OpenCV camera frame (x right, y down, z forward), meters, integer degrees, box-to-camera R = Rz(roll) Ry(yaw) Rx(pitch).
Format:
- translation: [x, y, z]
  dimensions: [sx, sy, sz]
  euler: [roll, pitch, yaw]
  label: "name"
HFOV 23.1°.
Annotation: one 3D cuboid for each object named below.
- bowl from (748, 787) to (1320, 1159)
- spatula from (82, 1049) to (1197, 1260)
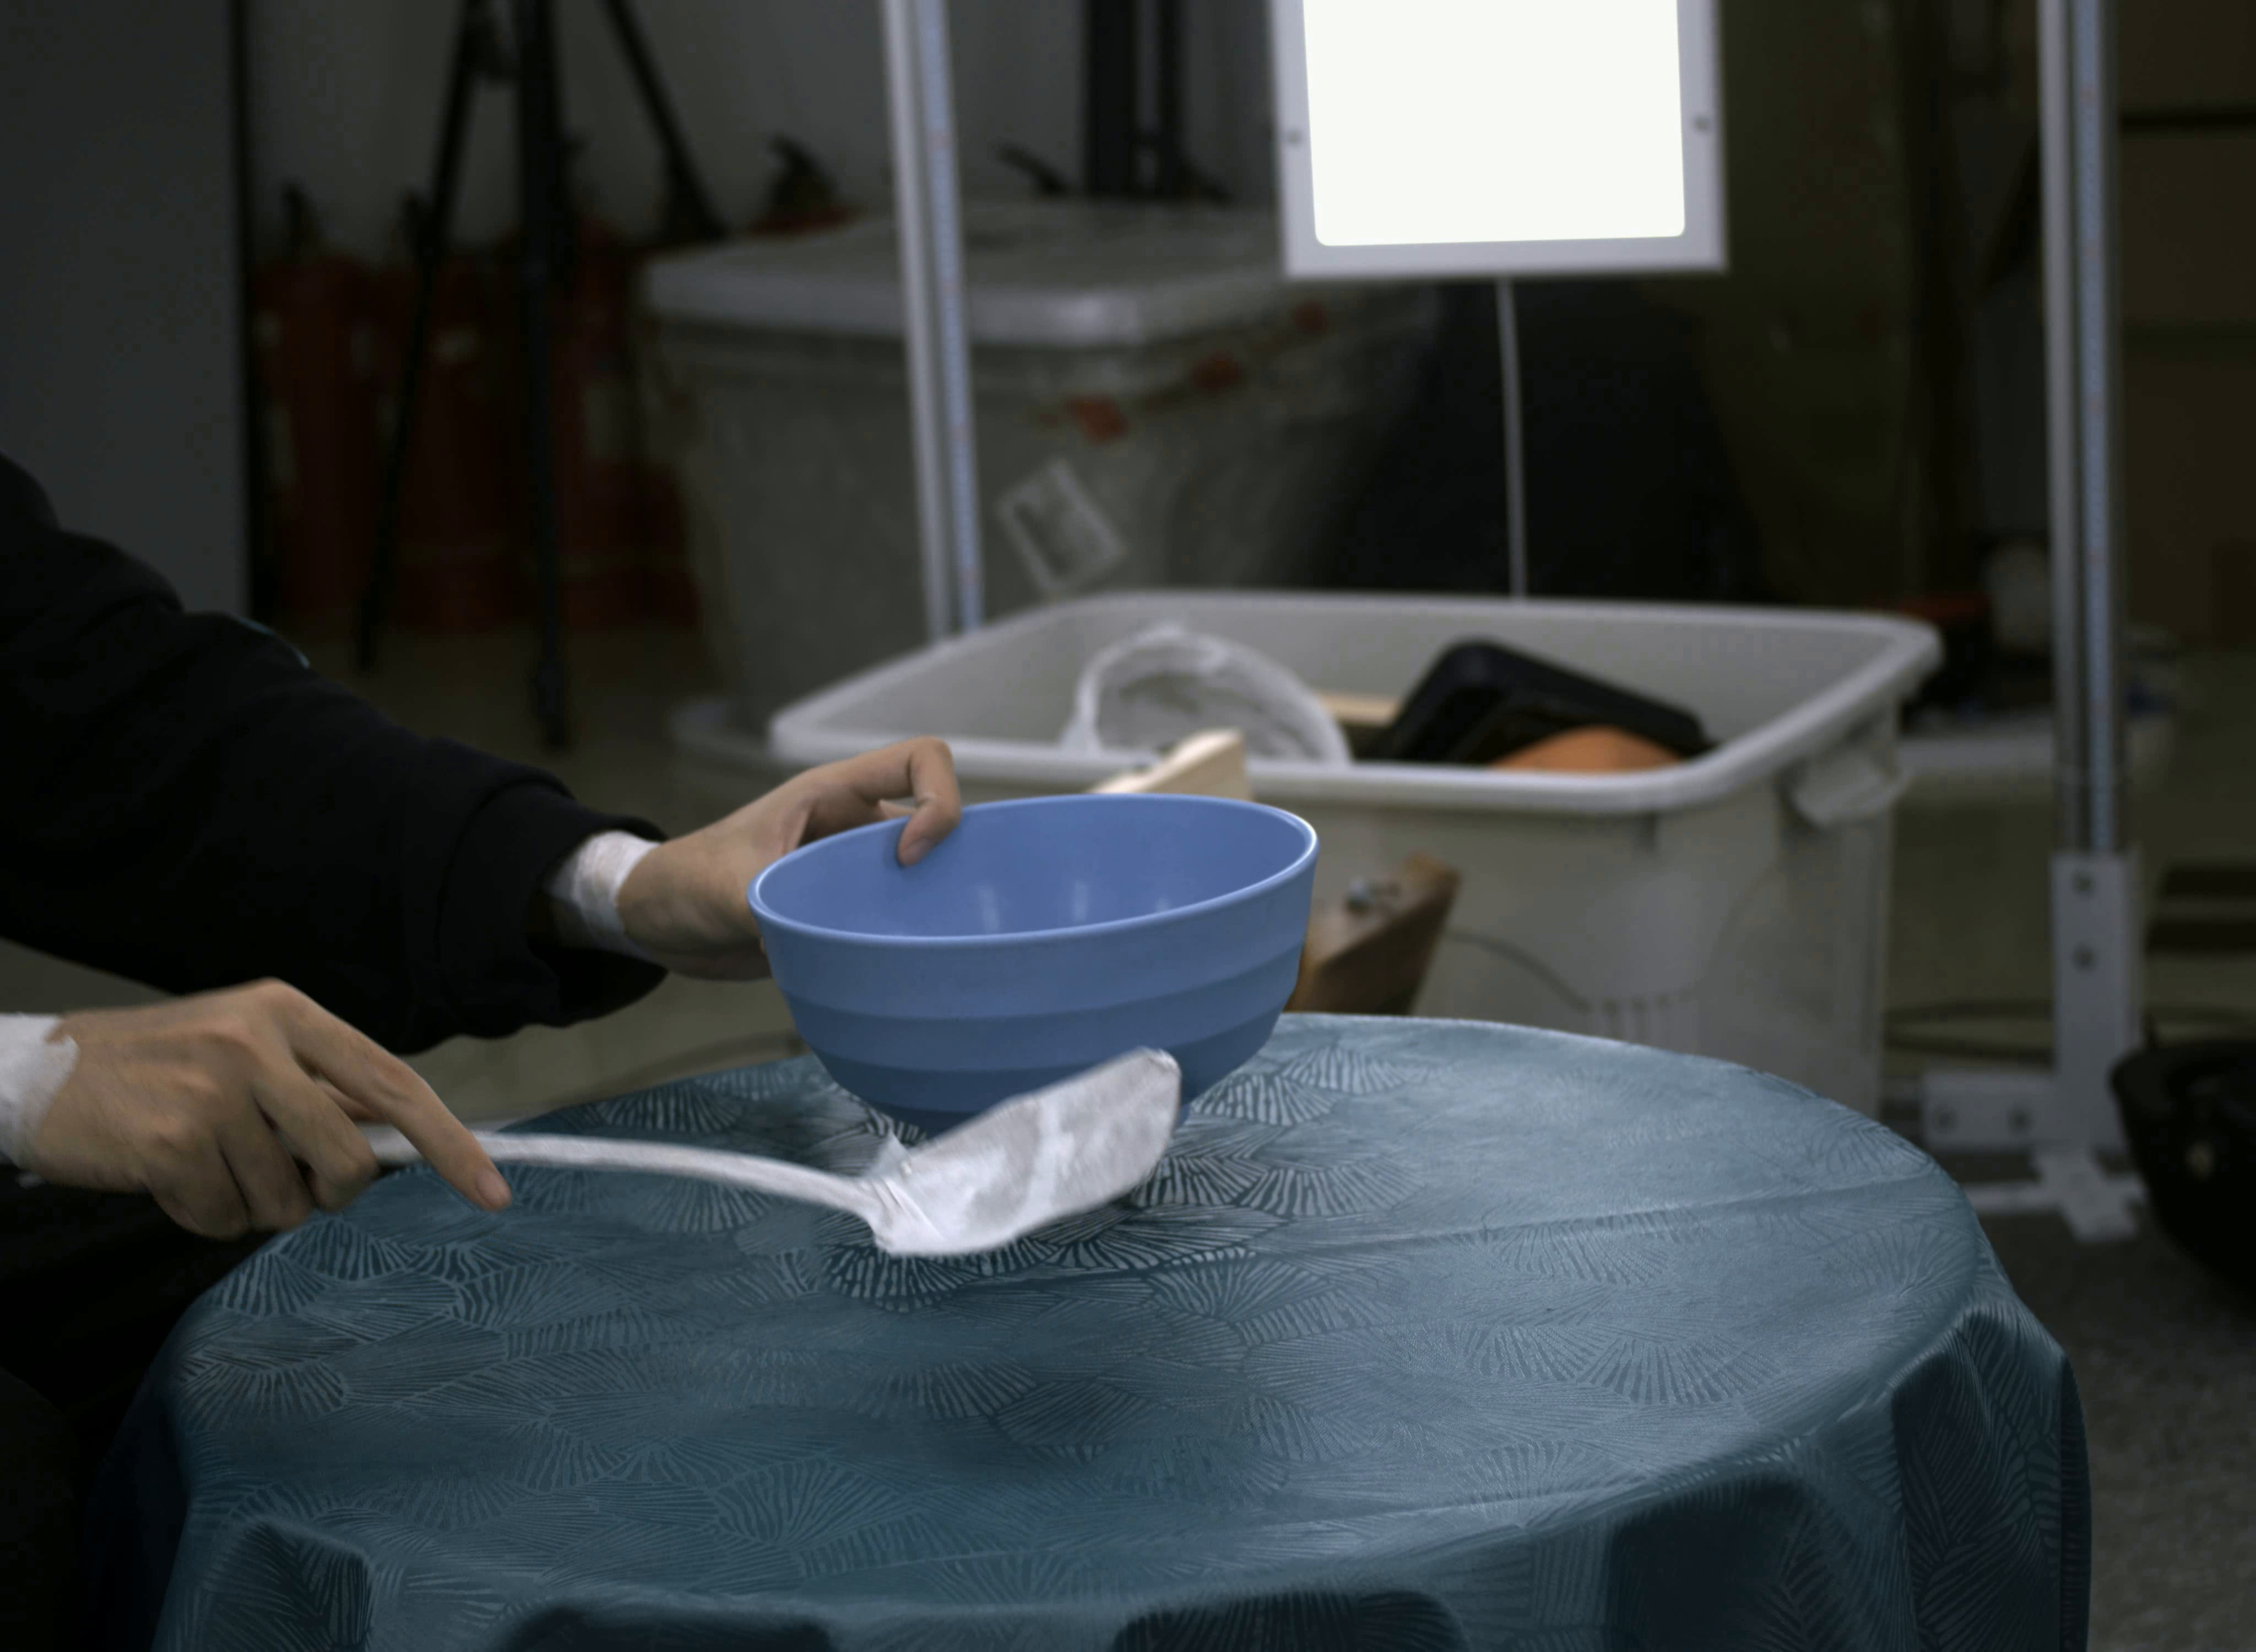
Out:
- translation: [-0.028, 0.057, 1.882]
  dimensions: [0.196, 0.096, 0.196]
  euler: [-6, 14, 0]
  label: "bowl"
- translation: [-0.159, 0.099, 1.719]
  dimensions: [0.367, 0.045, 0.097]
  euler: [3, 28, 12]
  label: "spatula"
